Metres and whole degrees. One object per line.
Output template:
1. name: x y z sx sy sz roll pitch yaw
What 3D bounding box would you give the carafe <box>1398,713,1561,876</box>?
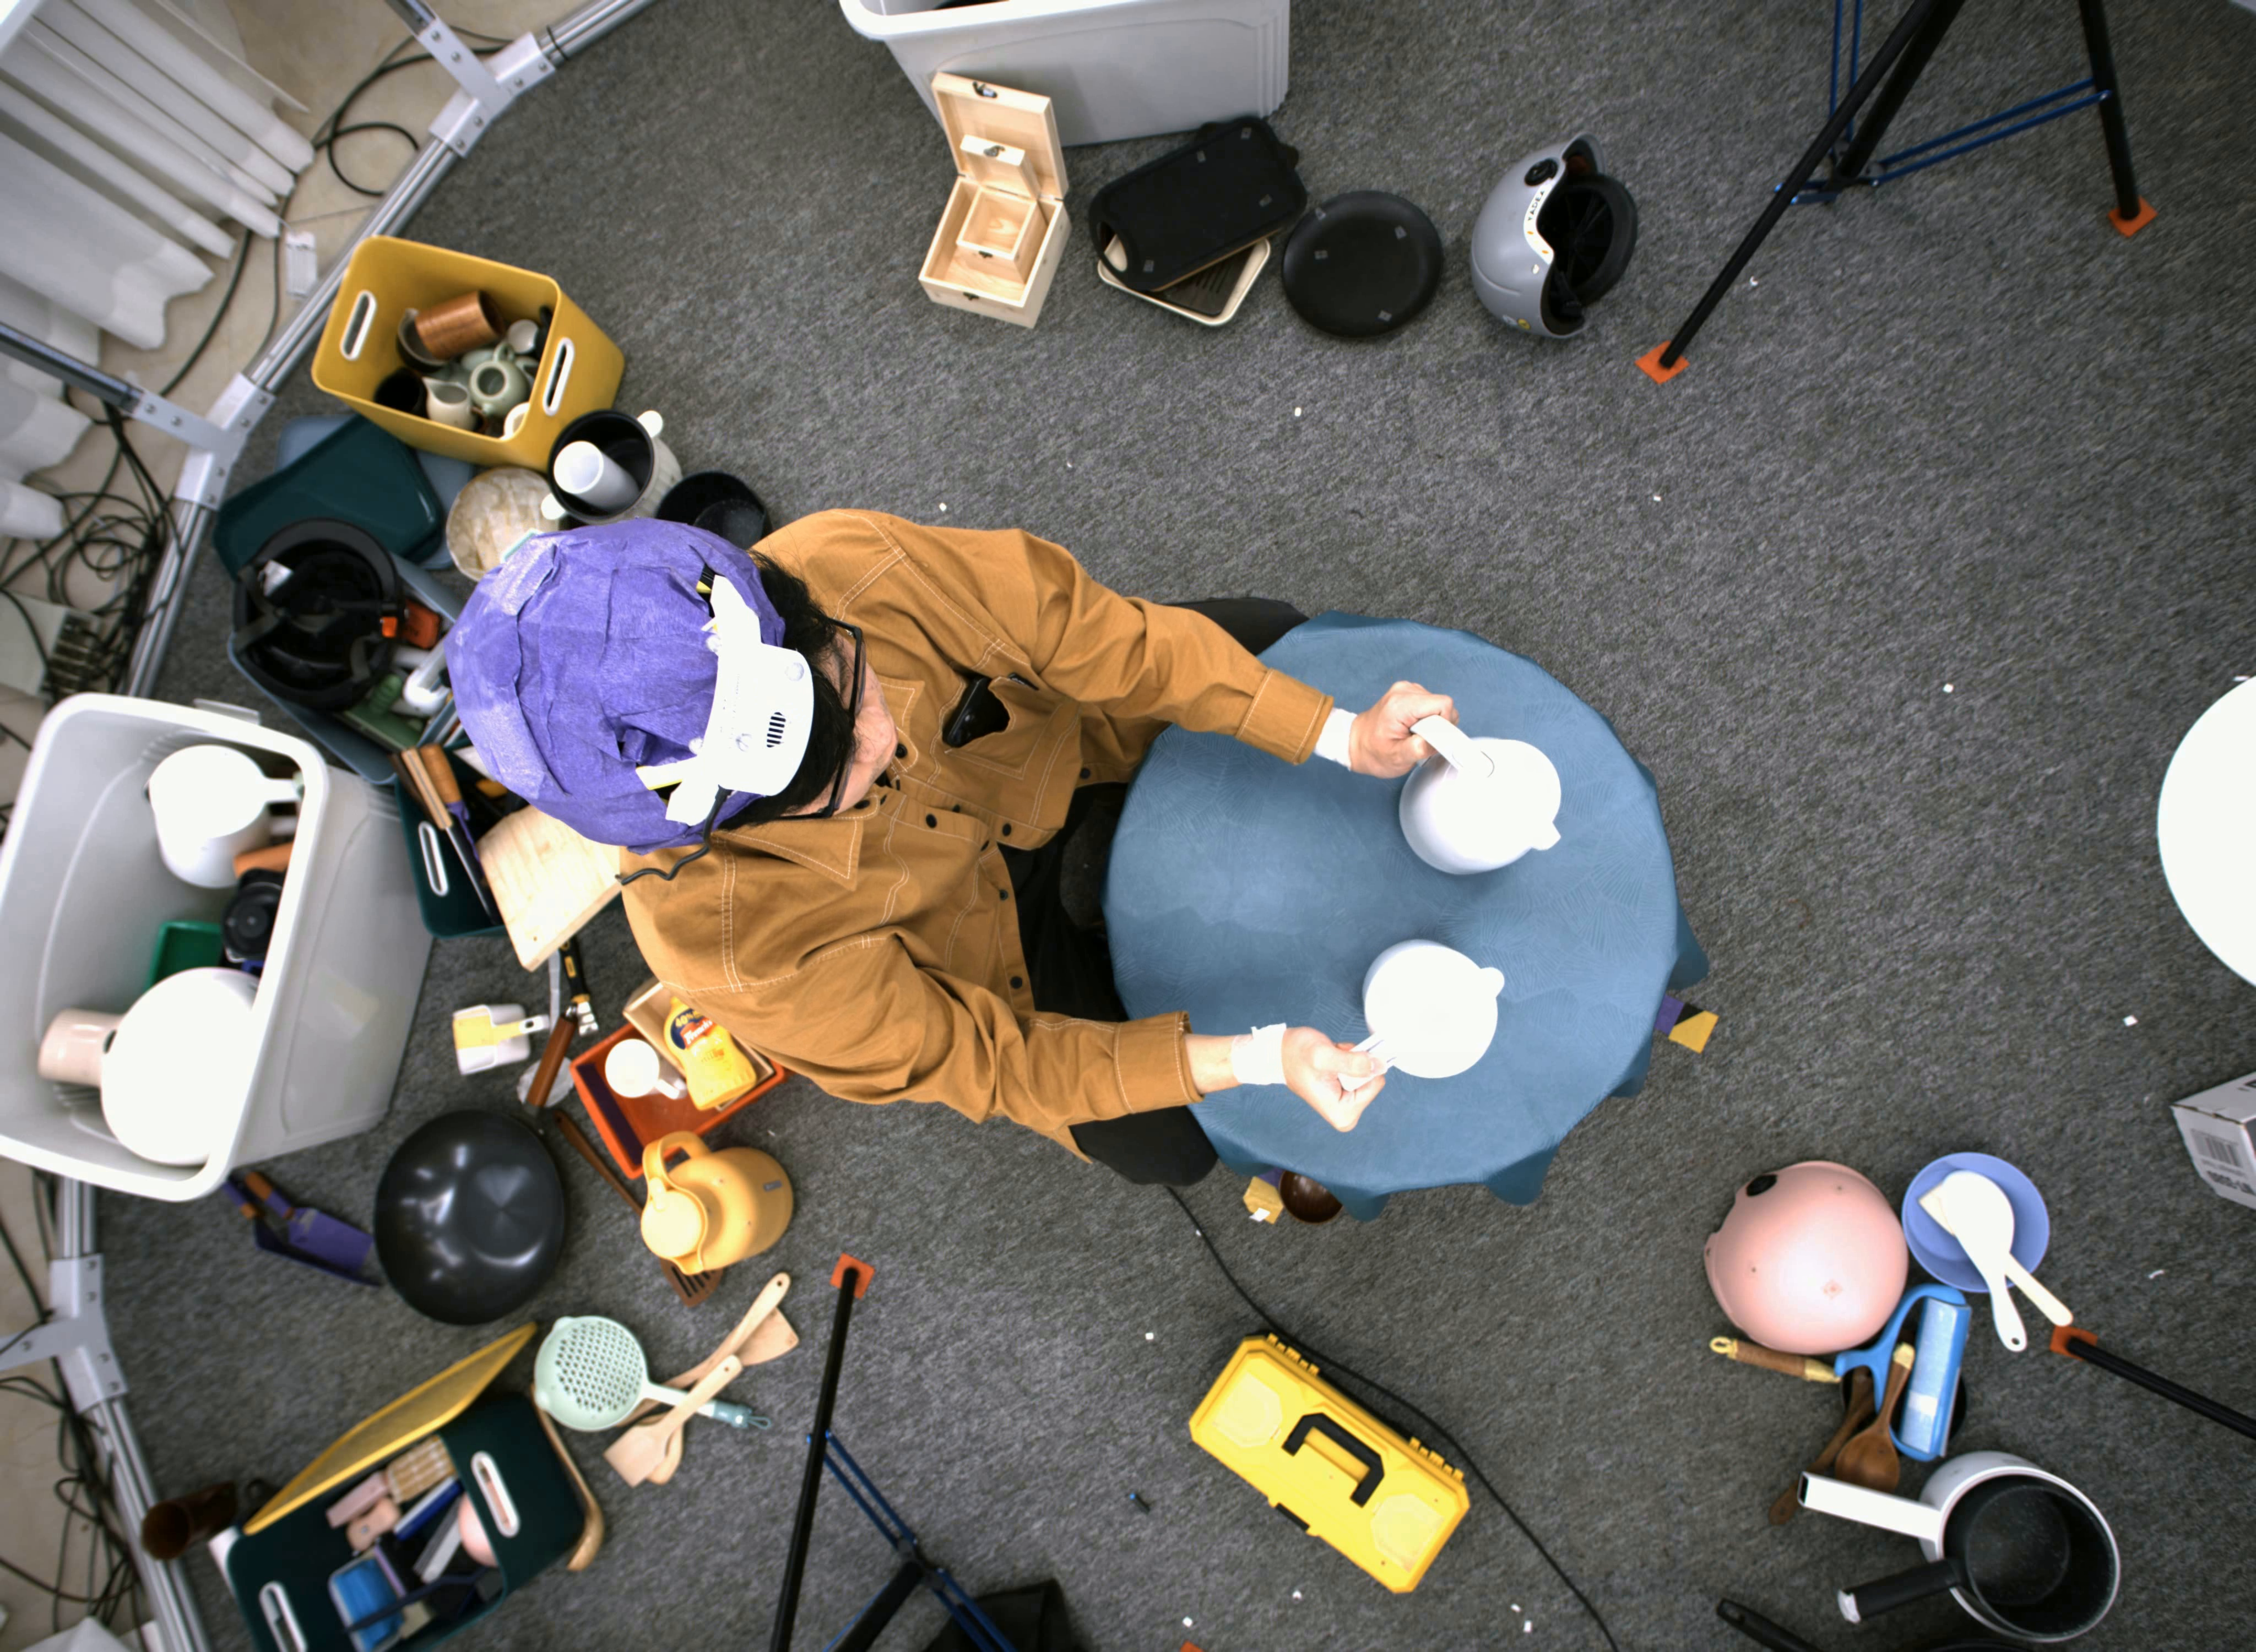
1. carafe: 0.323 -0.037 1.305 0.133 0.249 0.167 -44 84 2

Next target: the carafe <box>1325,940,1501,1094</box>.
1. carafe: 0.266 0.180 1.301 0.174 0.268 0.123 -36 85 7
